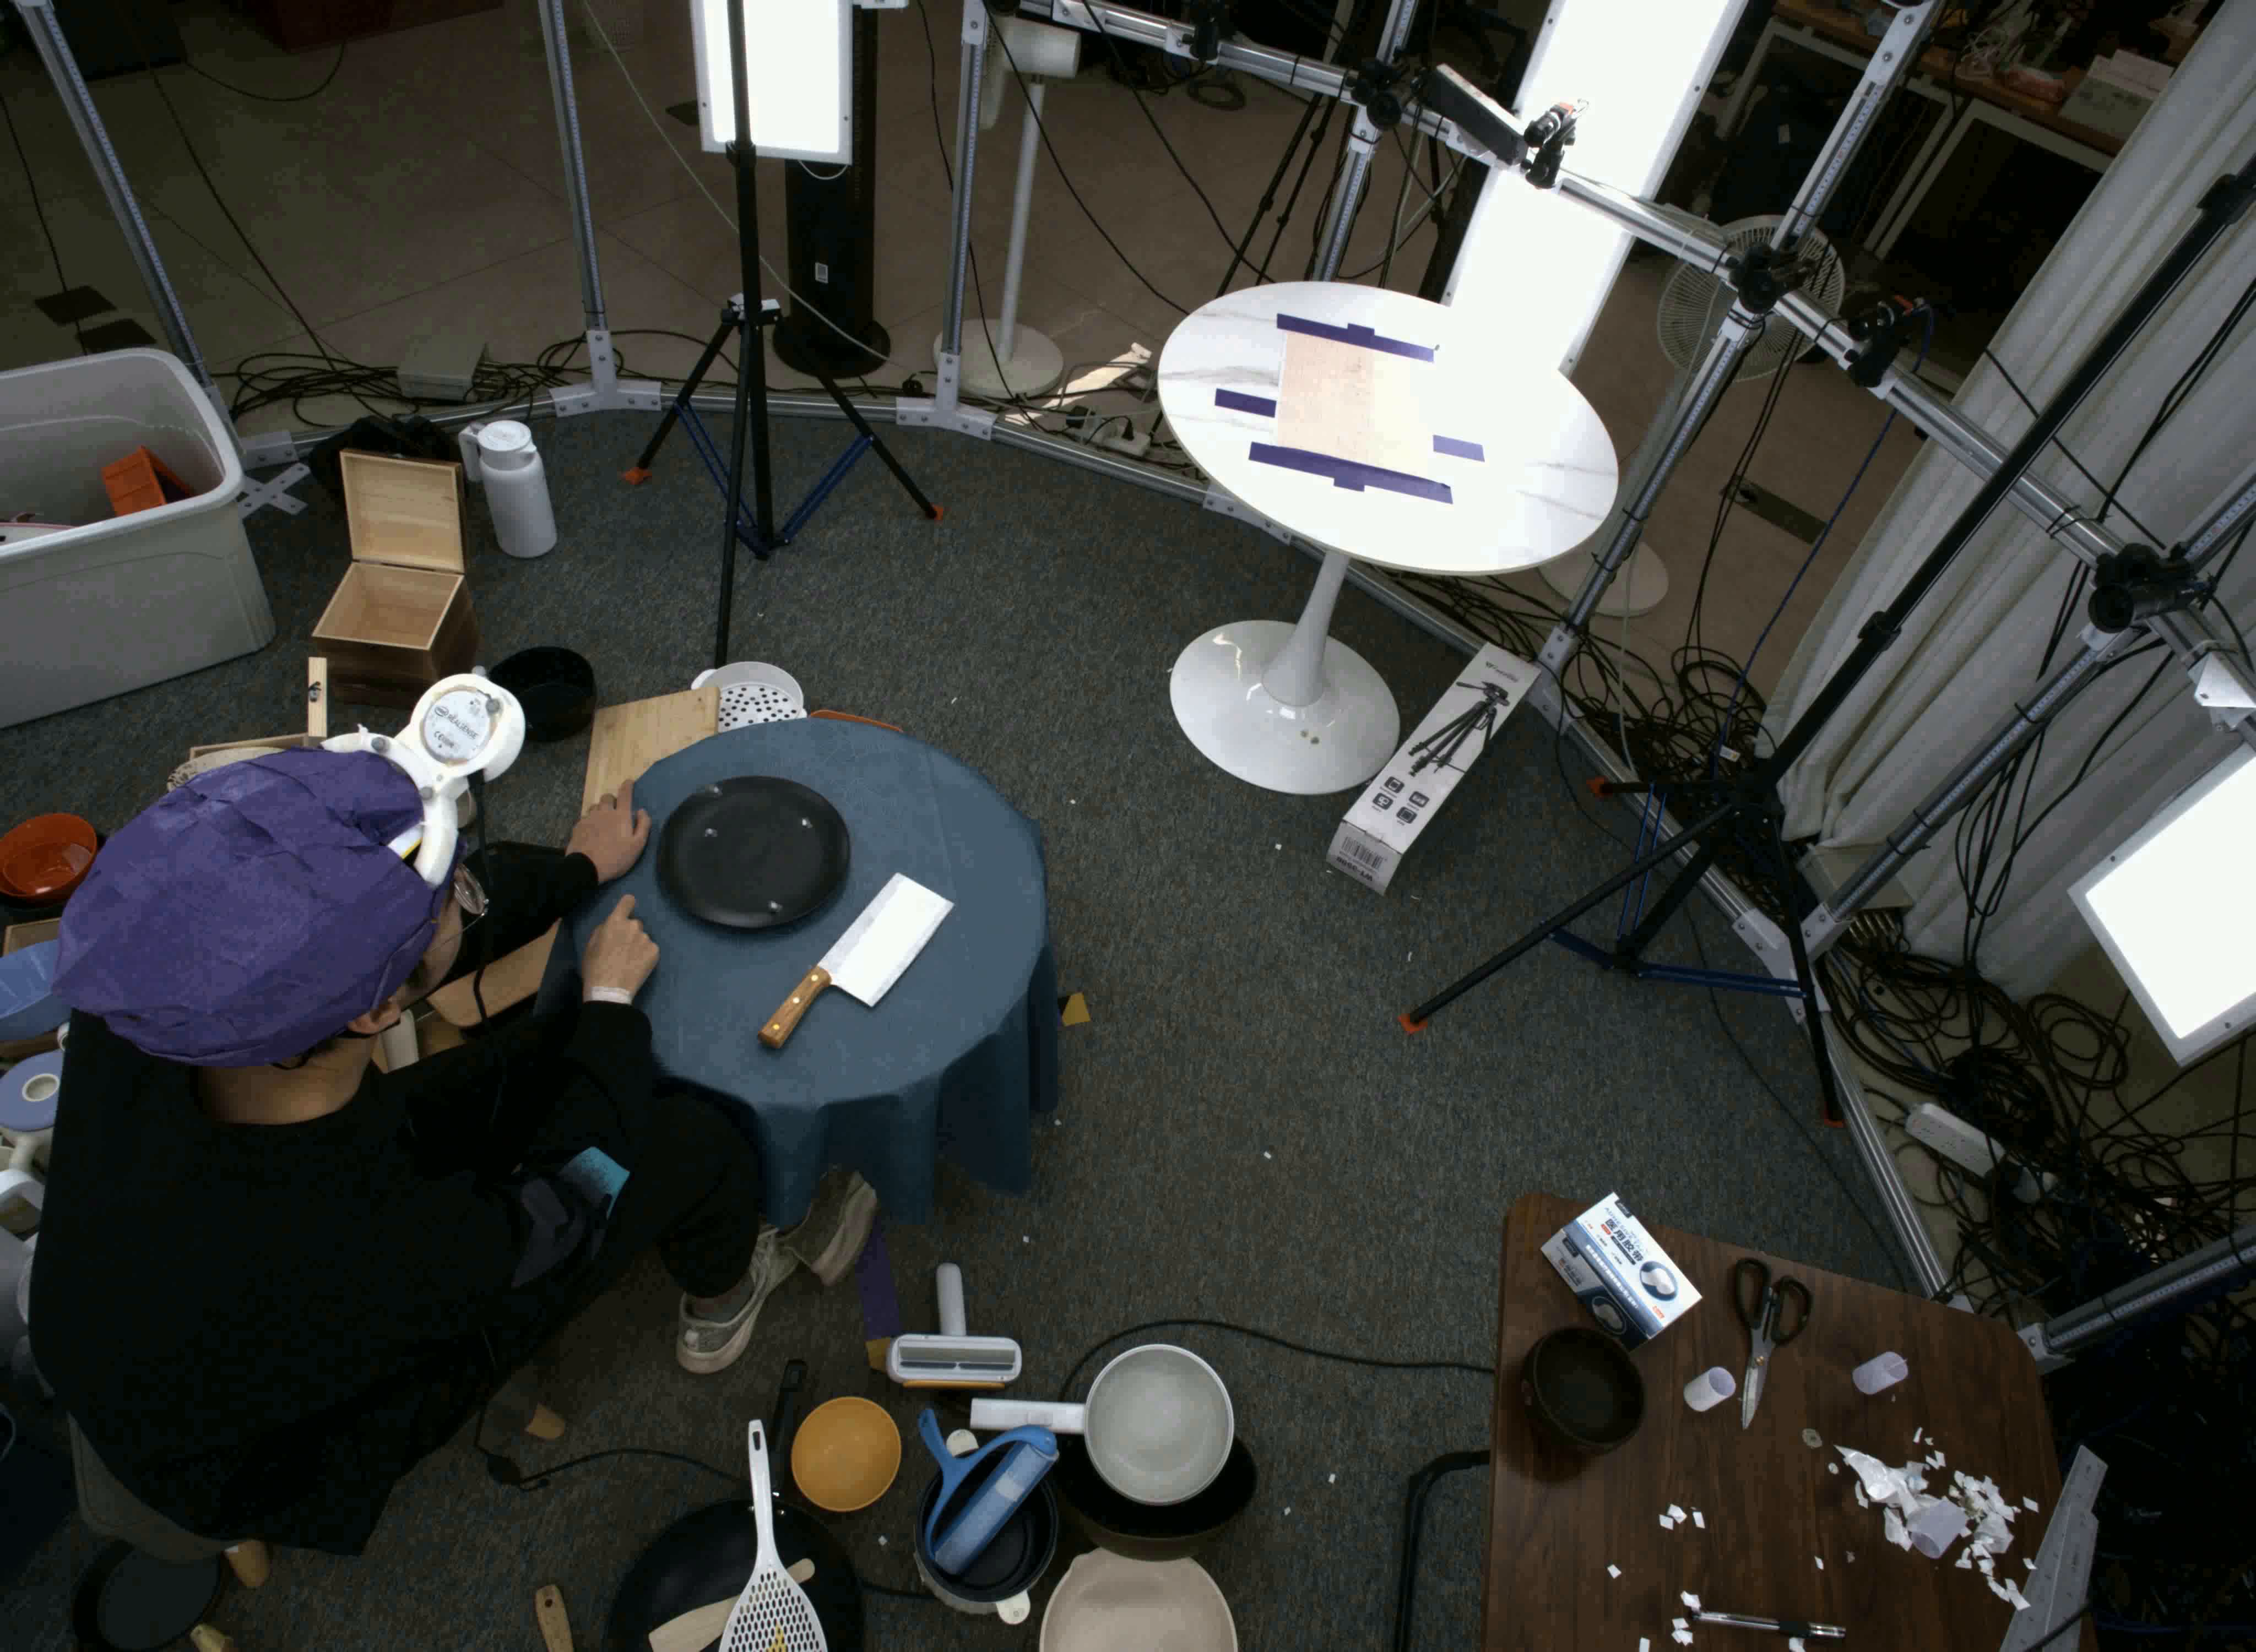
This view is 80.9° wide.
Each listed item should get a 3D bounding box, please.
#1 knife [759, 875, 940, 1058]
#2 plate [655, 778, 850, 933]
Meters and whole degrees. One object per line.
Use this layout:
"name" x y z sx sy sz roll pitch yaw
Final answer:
"knife" -0.332 0.174 1.598 0.092 0.021 0.304 29 50 6
"plate" -0.479 0.036 1.656 0.244 0.024 0.240 8 52 -9
